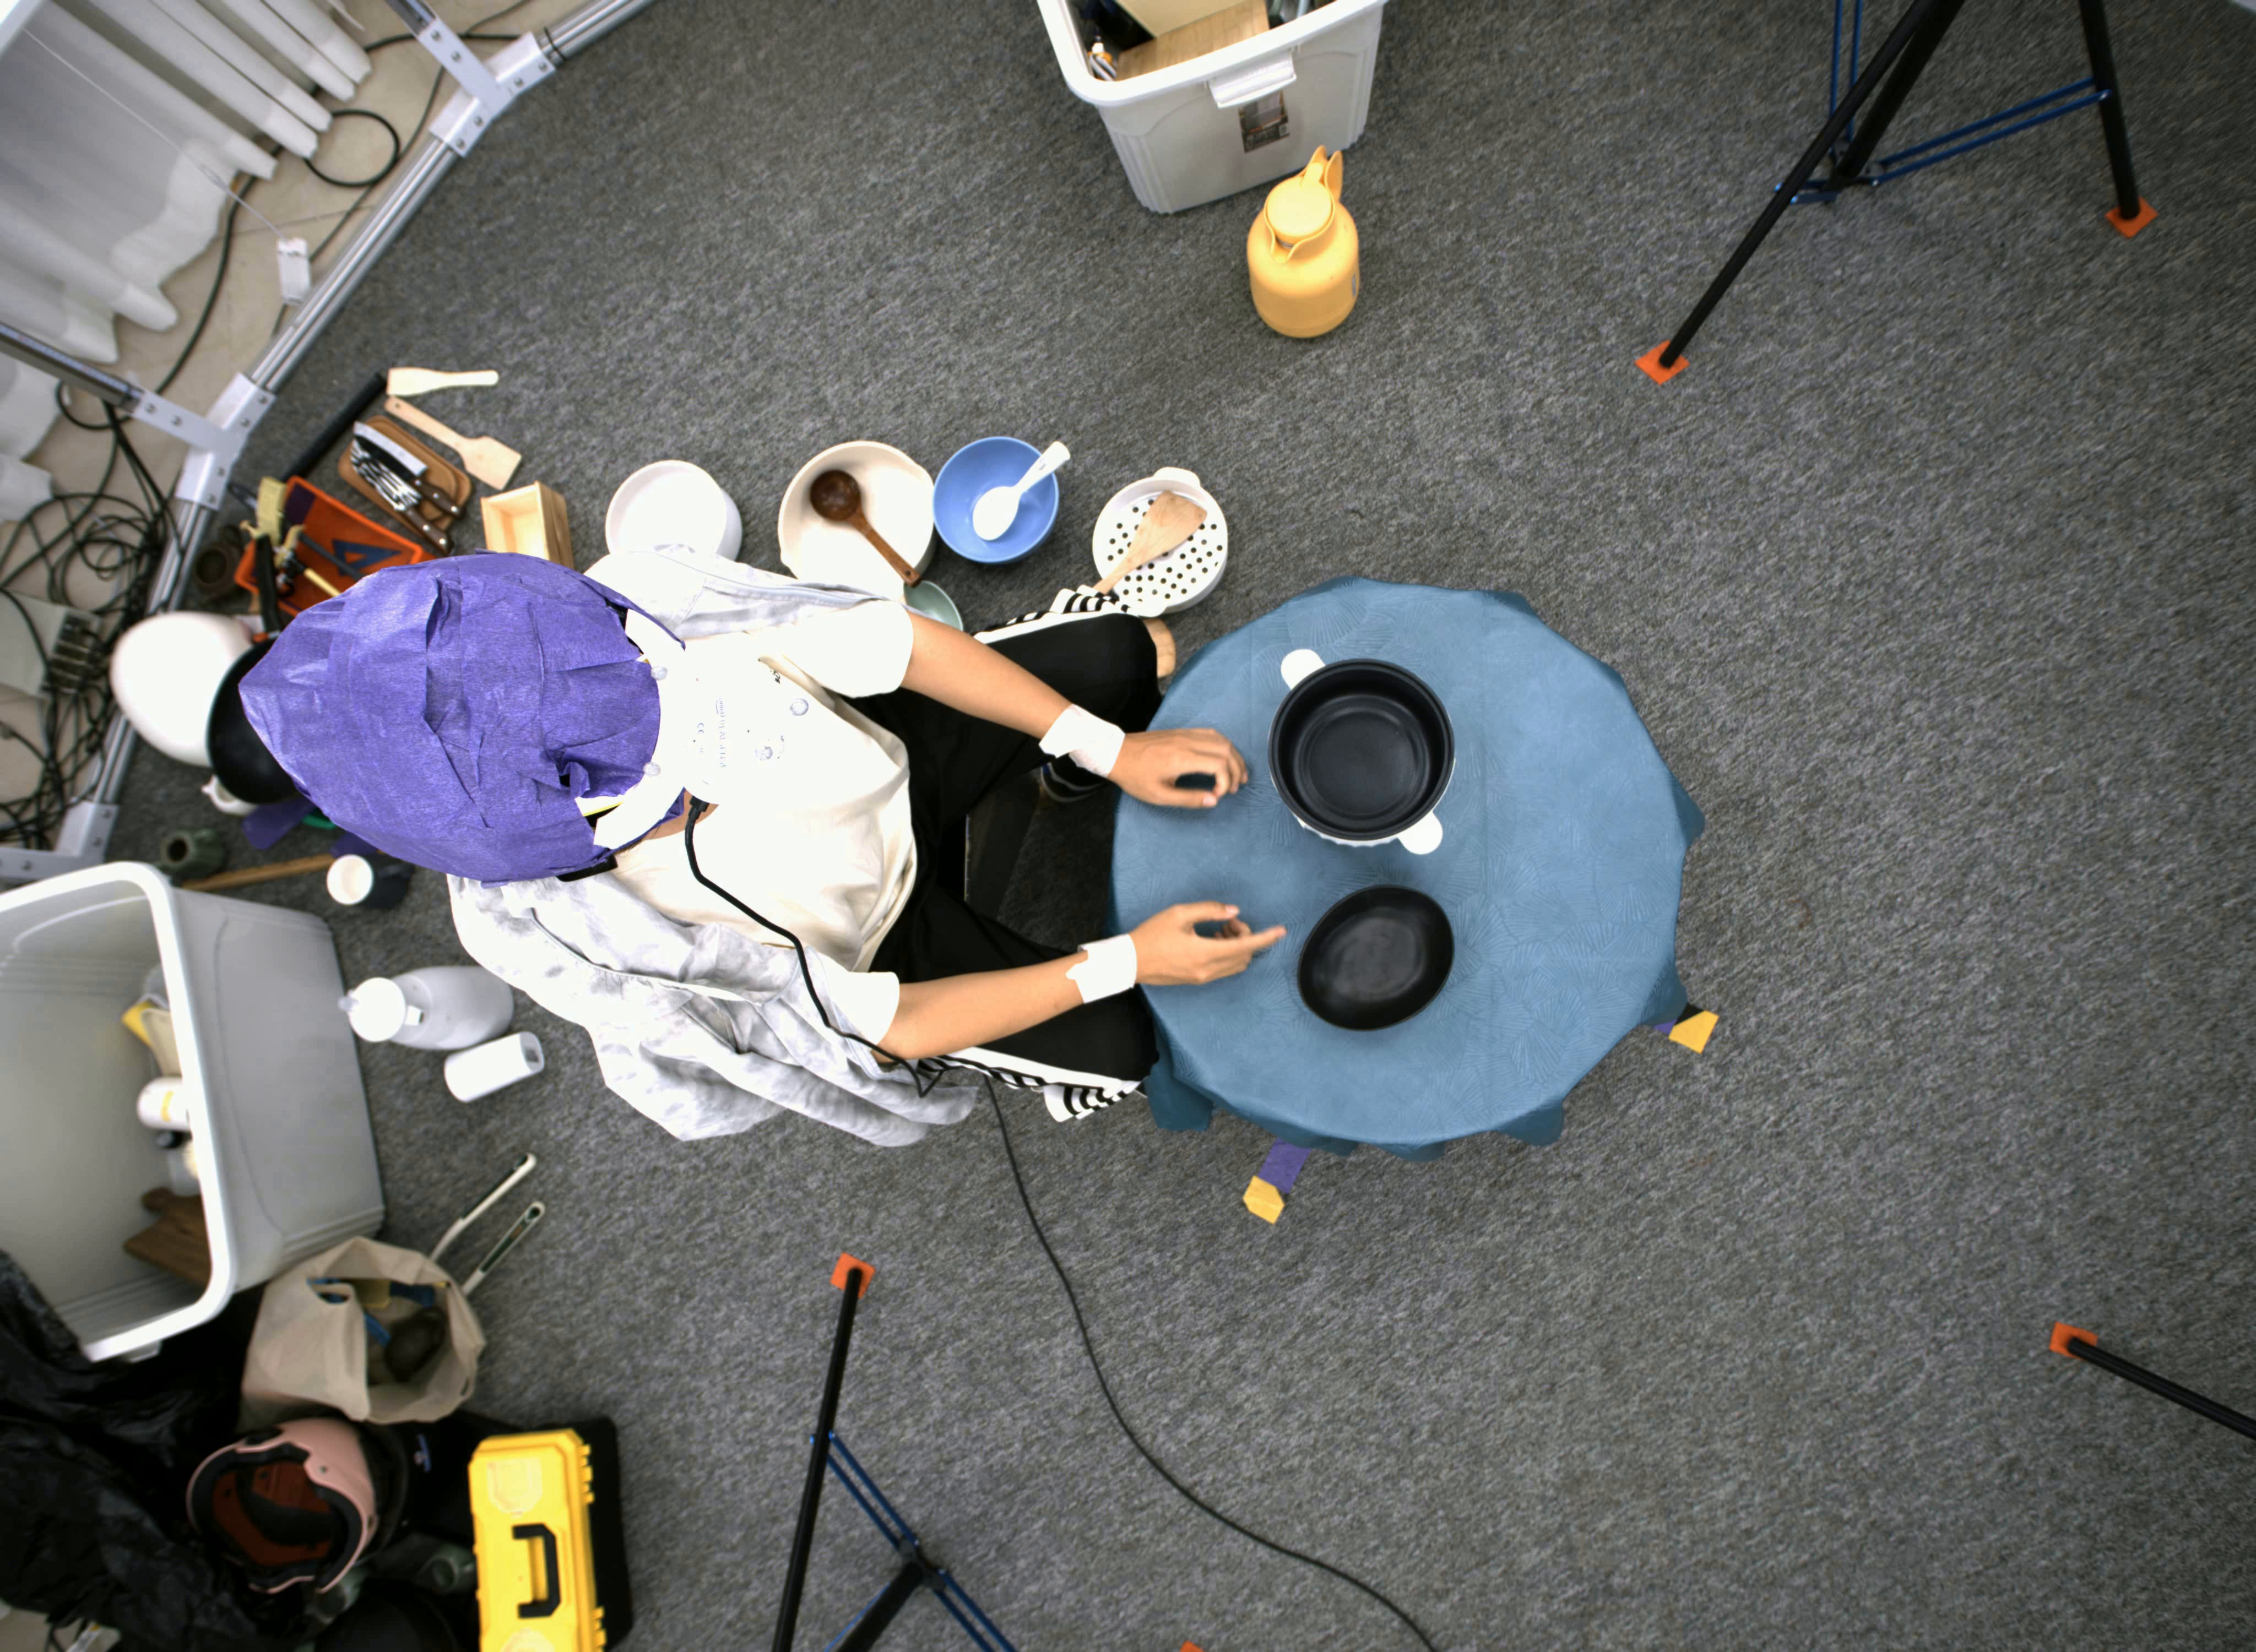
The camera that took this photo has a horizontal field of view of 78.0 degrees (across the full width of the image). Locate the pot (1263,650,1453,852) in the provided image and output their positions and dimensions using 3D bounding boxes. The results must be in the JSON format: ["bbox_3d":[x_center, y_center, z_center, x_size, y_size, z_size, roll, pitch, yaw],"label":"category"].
[{"bbox_3d":[0.240,-0.074,1.402,0.192,0.142,0.239,-37,81,9],"label":"pot"}]

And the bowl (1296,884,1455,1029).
[{"bbox_3d":[0.255,0.135,1.424,0.171,0.066,0.136,-38,81,7],"label":"bowl"}]
